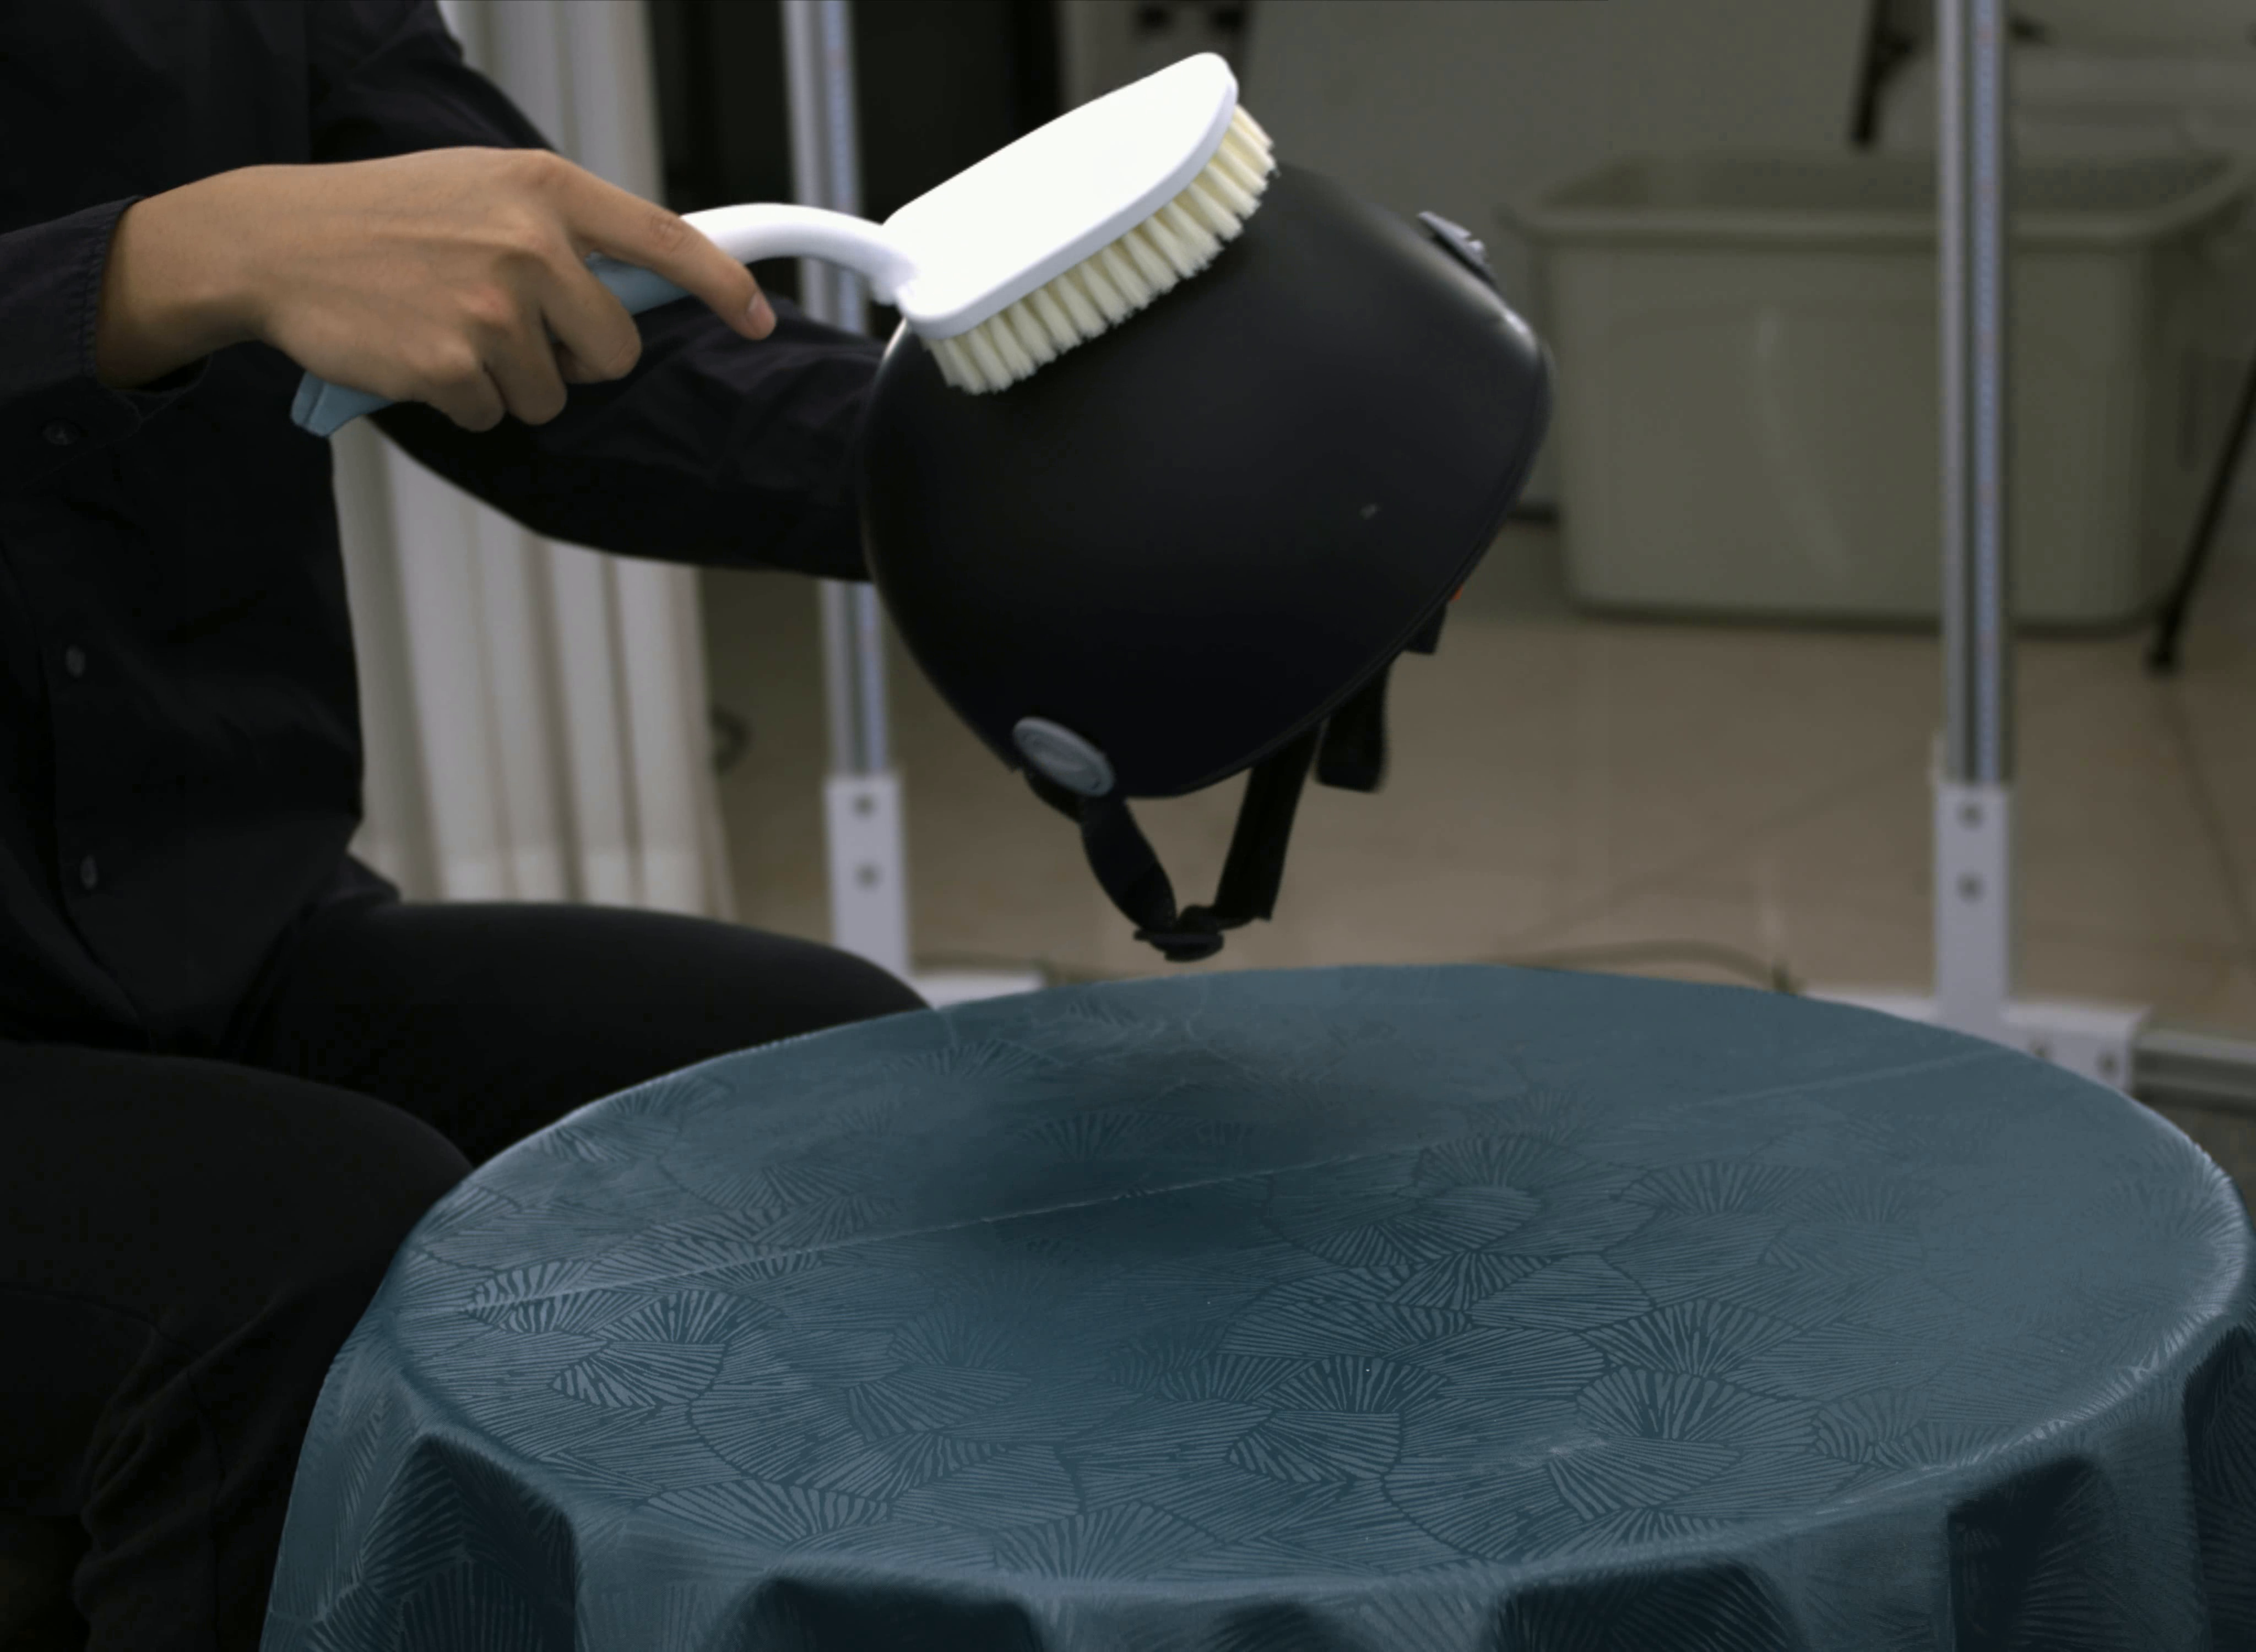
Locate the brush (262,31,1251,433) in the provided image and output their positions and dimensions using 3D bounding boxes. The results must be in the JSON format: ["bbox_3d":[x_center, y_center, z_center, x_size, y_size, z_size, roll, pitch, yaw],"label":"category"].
[{"bbox_3d":[-0.112,-0.163,1.705,0.321,0.085,0.083,-21,1,-4],"label":"brush"}]

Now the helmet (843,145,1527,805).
[{"bbox_3d":[0.002,-0.131,1.792,0.165,0.230,0.275,39,-7,-17],"label":"helmet"}]
